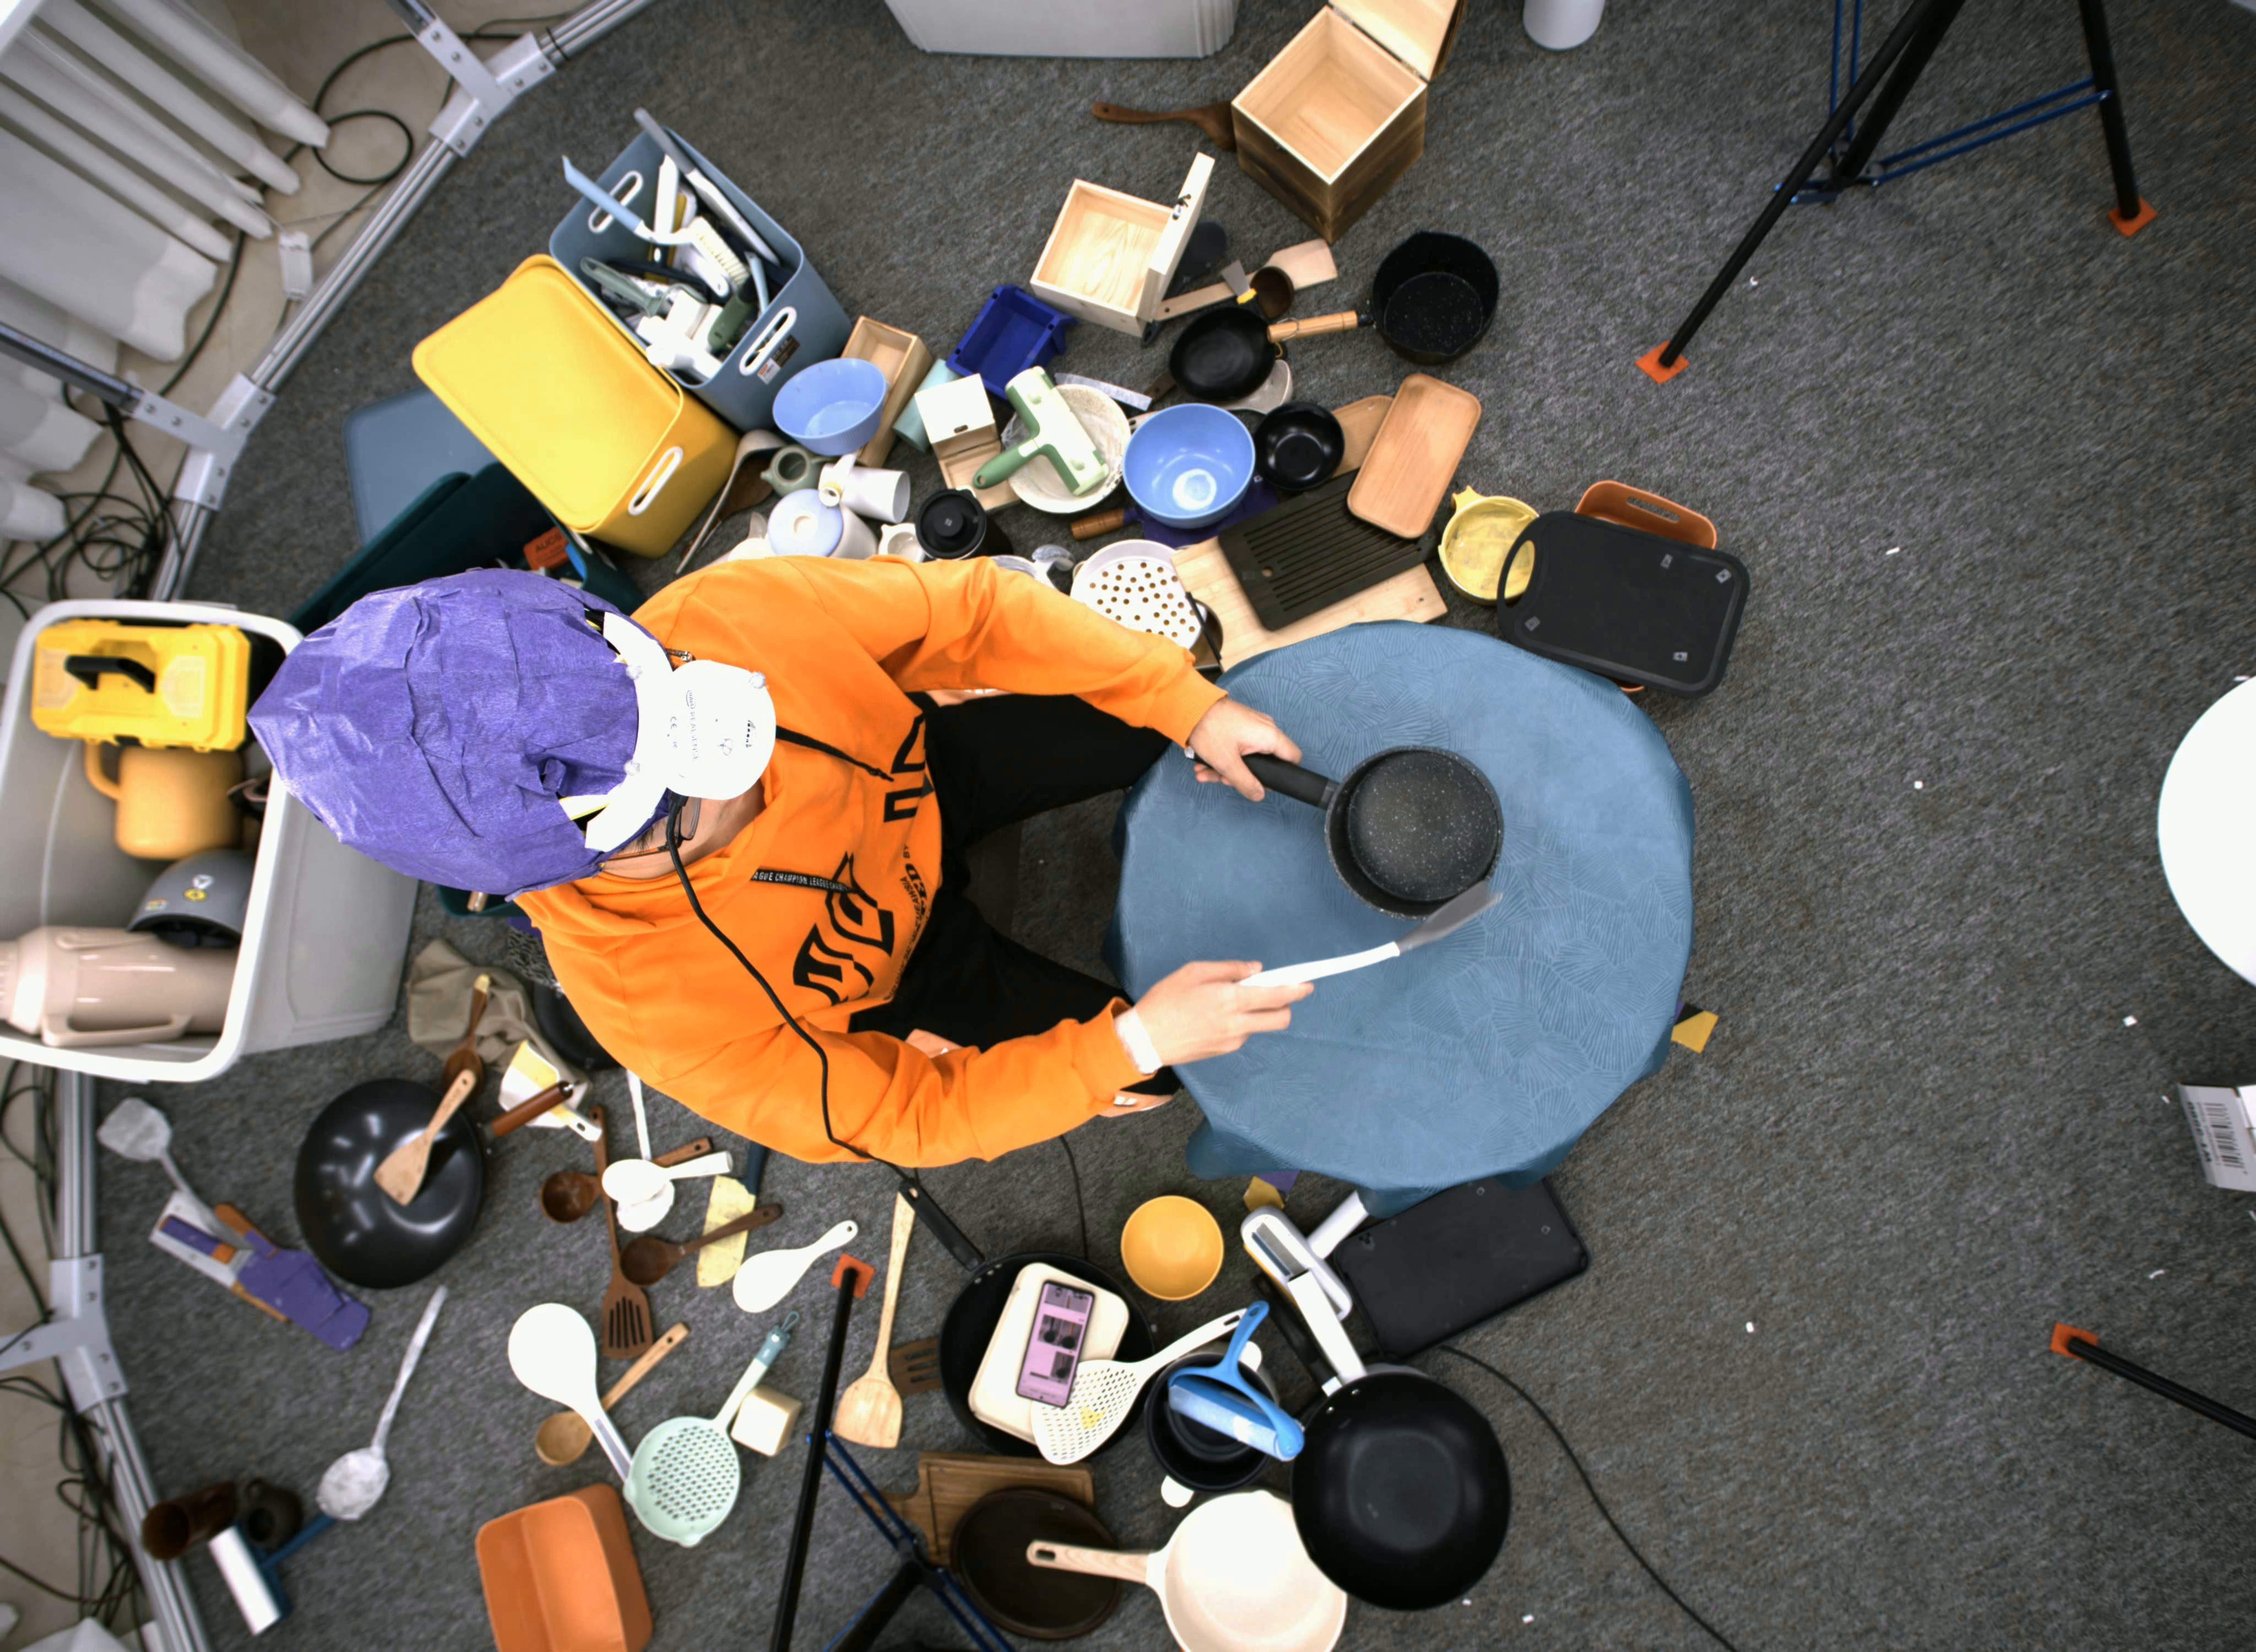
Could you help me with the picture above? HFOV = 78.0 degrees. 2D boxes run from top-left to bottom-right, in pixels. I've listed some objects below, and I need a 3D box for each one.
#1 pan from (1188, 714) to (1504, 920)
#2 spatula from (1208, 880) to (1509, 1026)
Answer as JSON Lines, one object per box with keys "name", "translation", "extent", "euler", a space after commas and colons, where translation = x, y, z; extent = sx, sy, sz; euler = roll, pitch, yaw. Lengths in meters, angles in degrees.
{"name": "pan", "translation": [0.217, -0.031, 1.384], "extent": [0.328, 0.085, 0.174], "euler": [26, 105, 13]}
{"name": "spatula", "translation": [0.212, 0.117, 1.272], "extent": [0.289, 0.058, 0.032], "euler": [-22, 107, 5]}
